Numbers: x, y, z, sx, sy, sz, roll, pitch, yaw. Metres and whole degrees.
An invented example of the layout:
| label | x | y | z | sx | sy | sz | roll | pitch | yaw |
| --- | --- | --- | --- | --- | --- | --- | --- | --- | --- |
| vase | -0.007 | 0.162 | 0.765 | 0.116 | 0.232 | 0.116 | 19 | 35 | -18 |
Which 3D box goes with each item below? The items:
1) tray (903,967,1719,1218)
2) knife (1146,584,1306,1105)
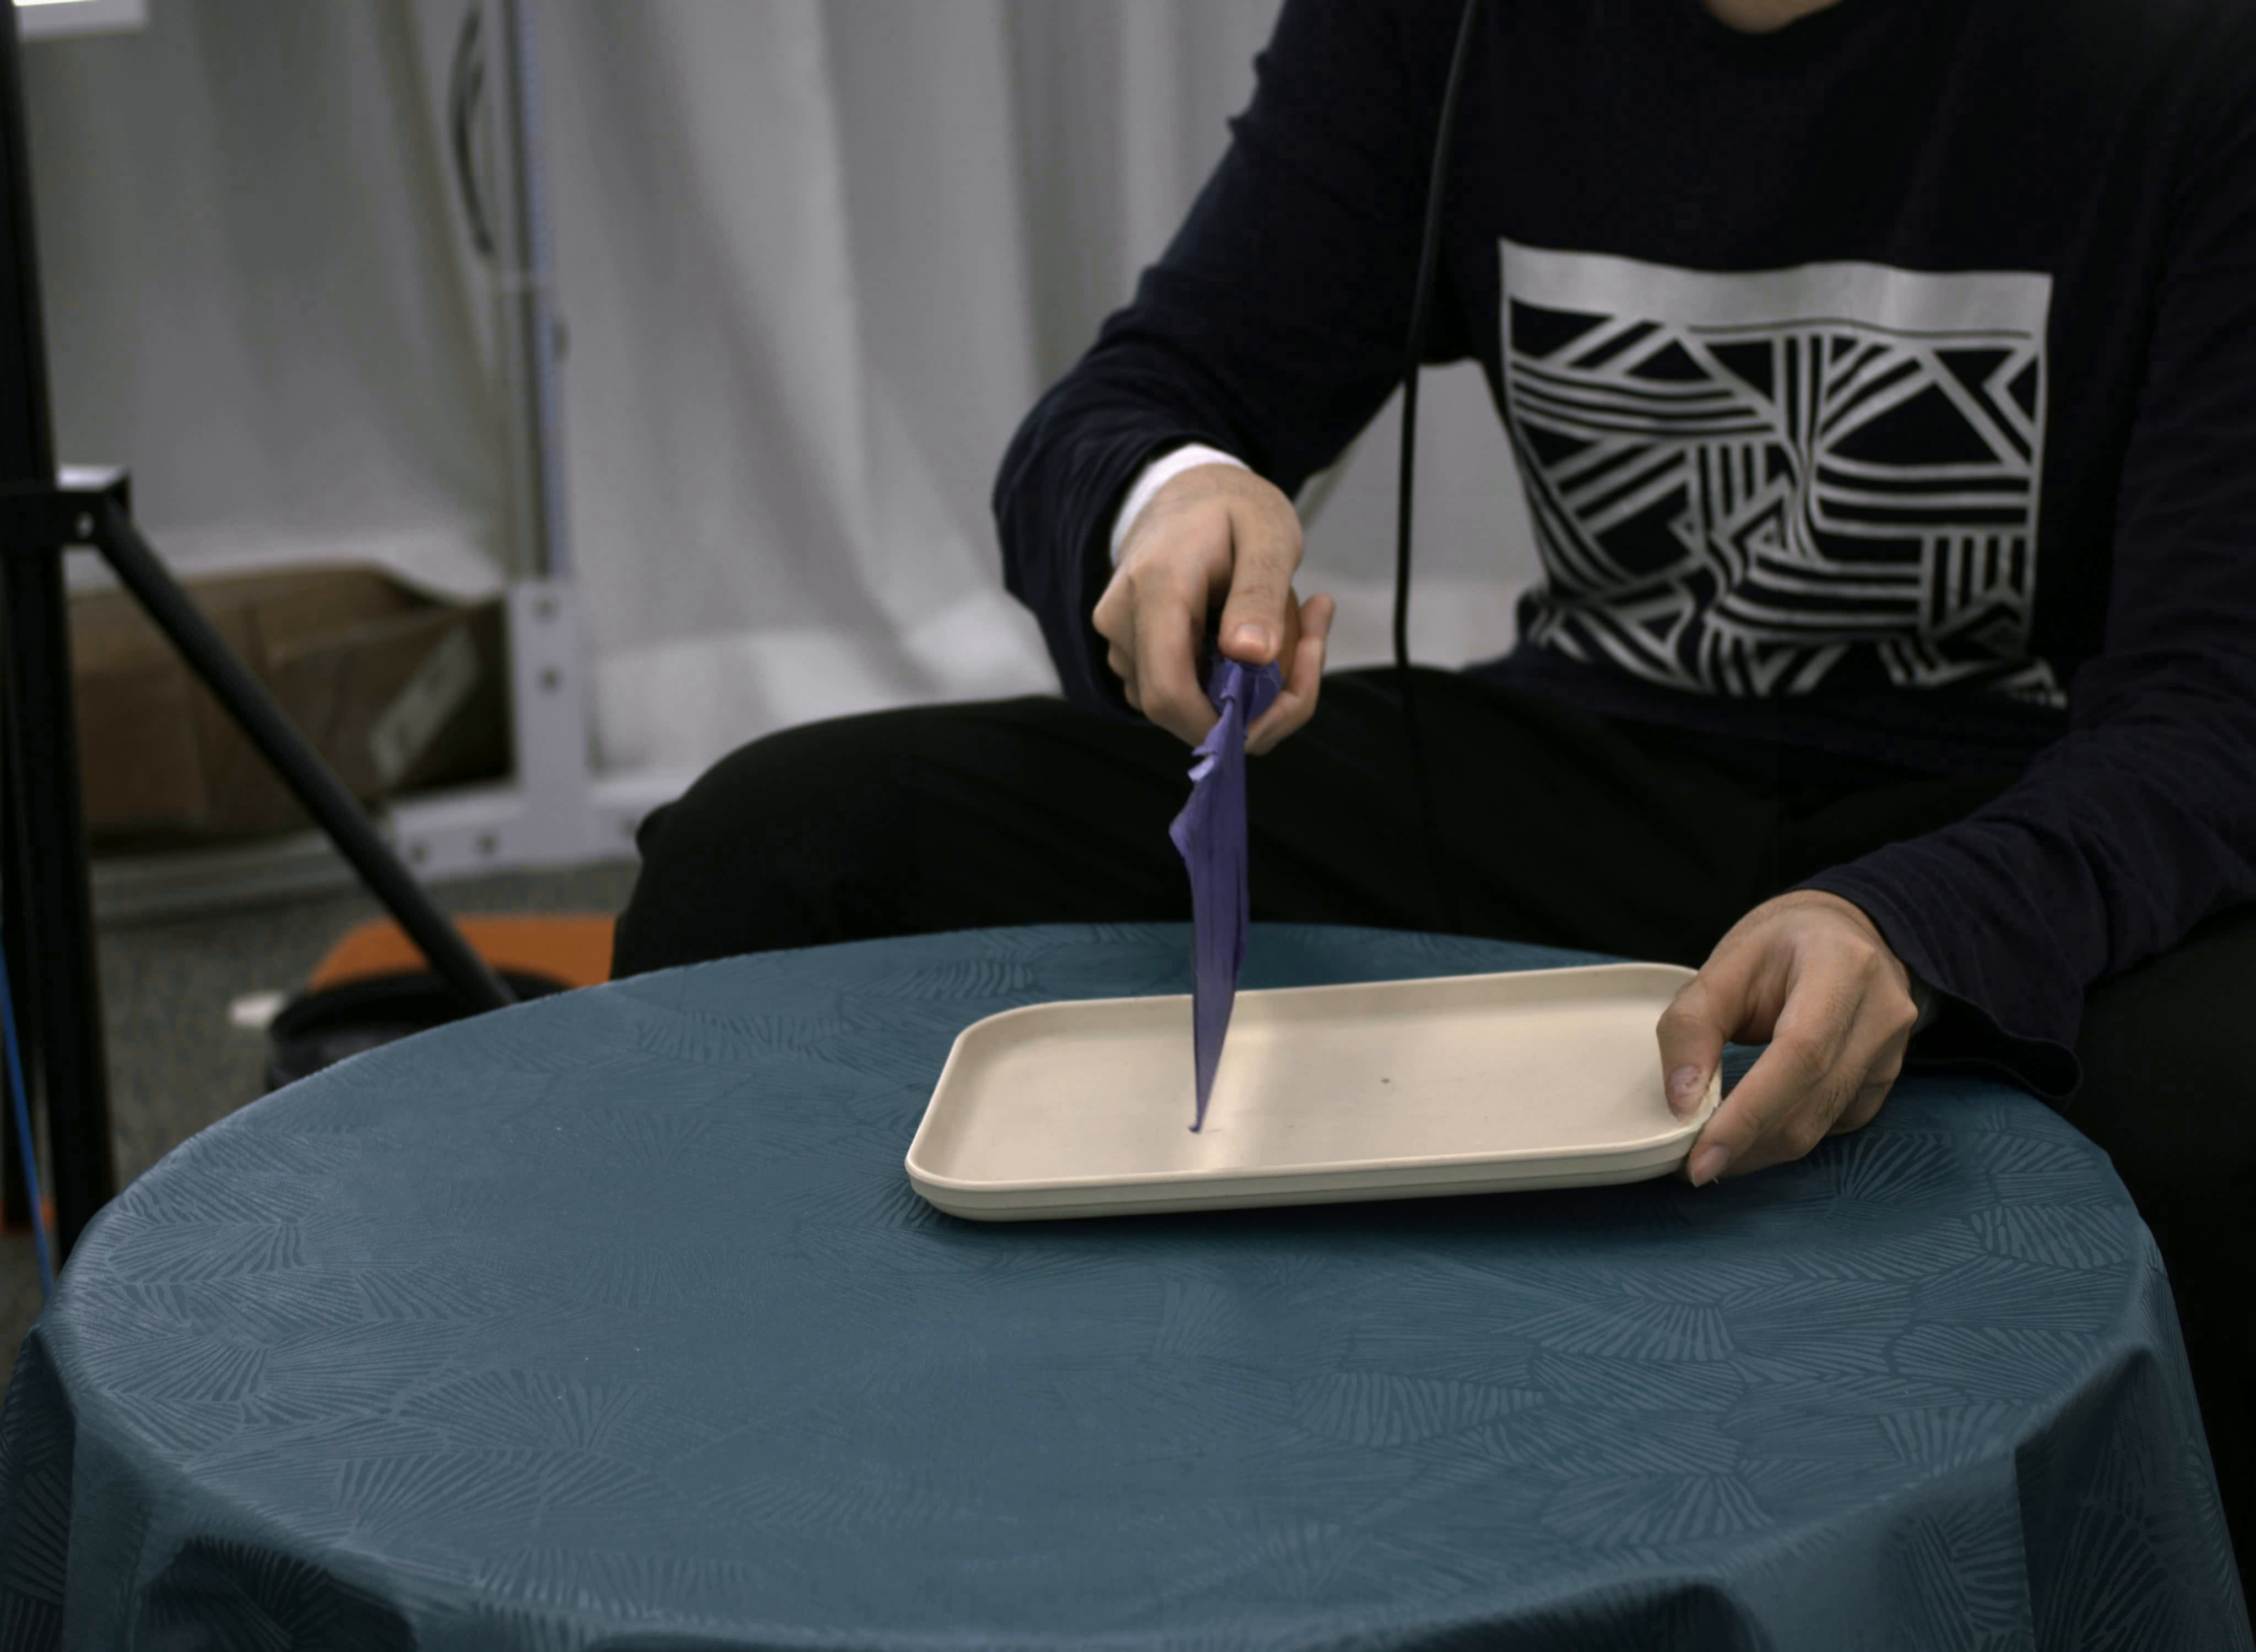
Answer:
| label | x | y | z | sx | sy | sz | roll | pitch | yaw |
| --- | --- | --- | --- | --- | --- | --- | --- | --- | --- |
| tray | 0.058 | 0.081 | 1.592 | 0.240 | 0.017 | 0.171 | -4 | 15 | 9 |
| knife | 0.028 | 0.003 | 1.645 | 0.032 | 0.104 | 0.314 | 1 | 16 | 7 |
